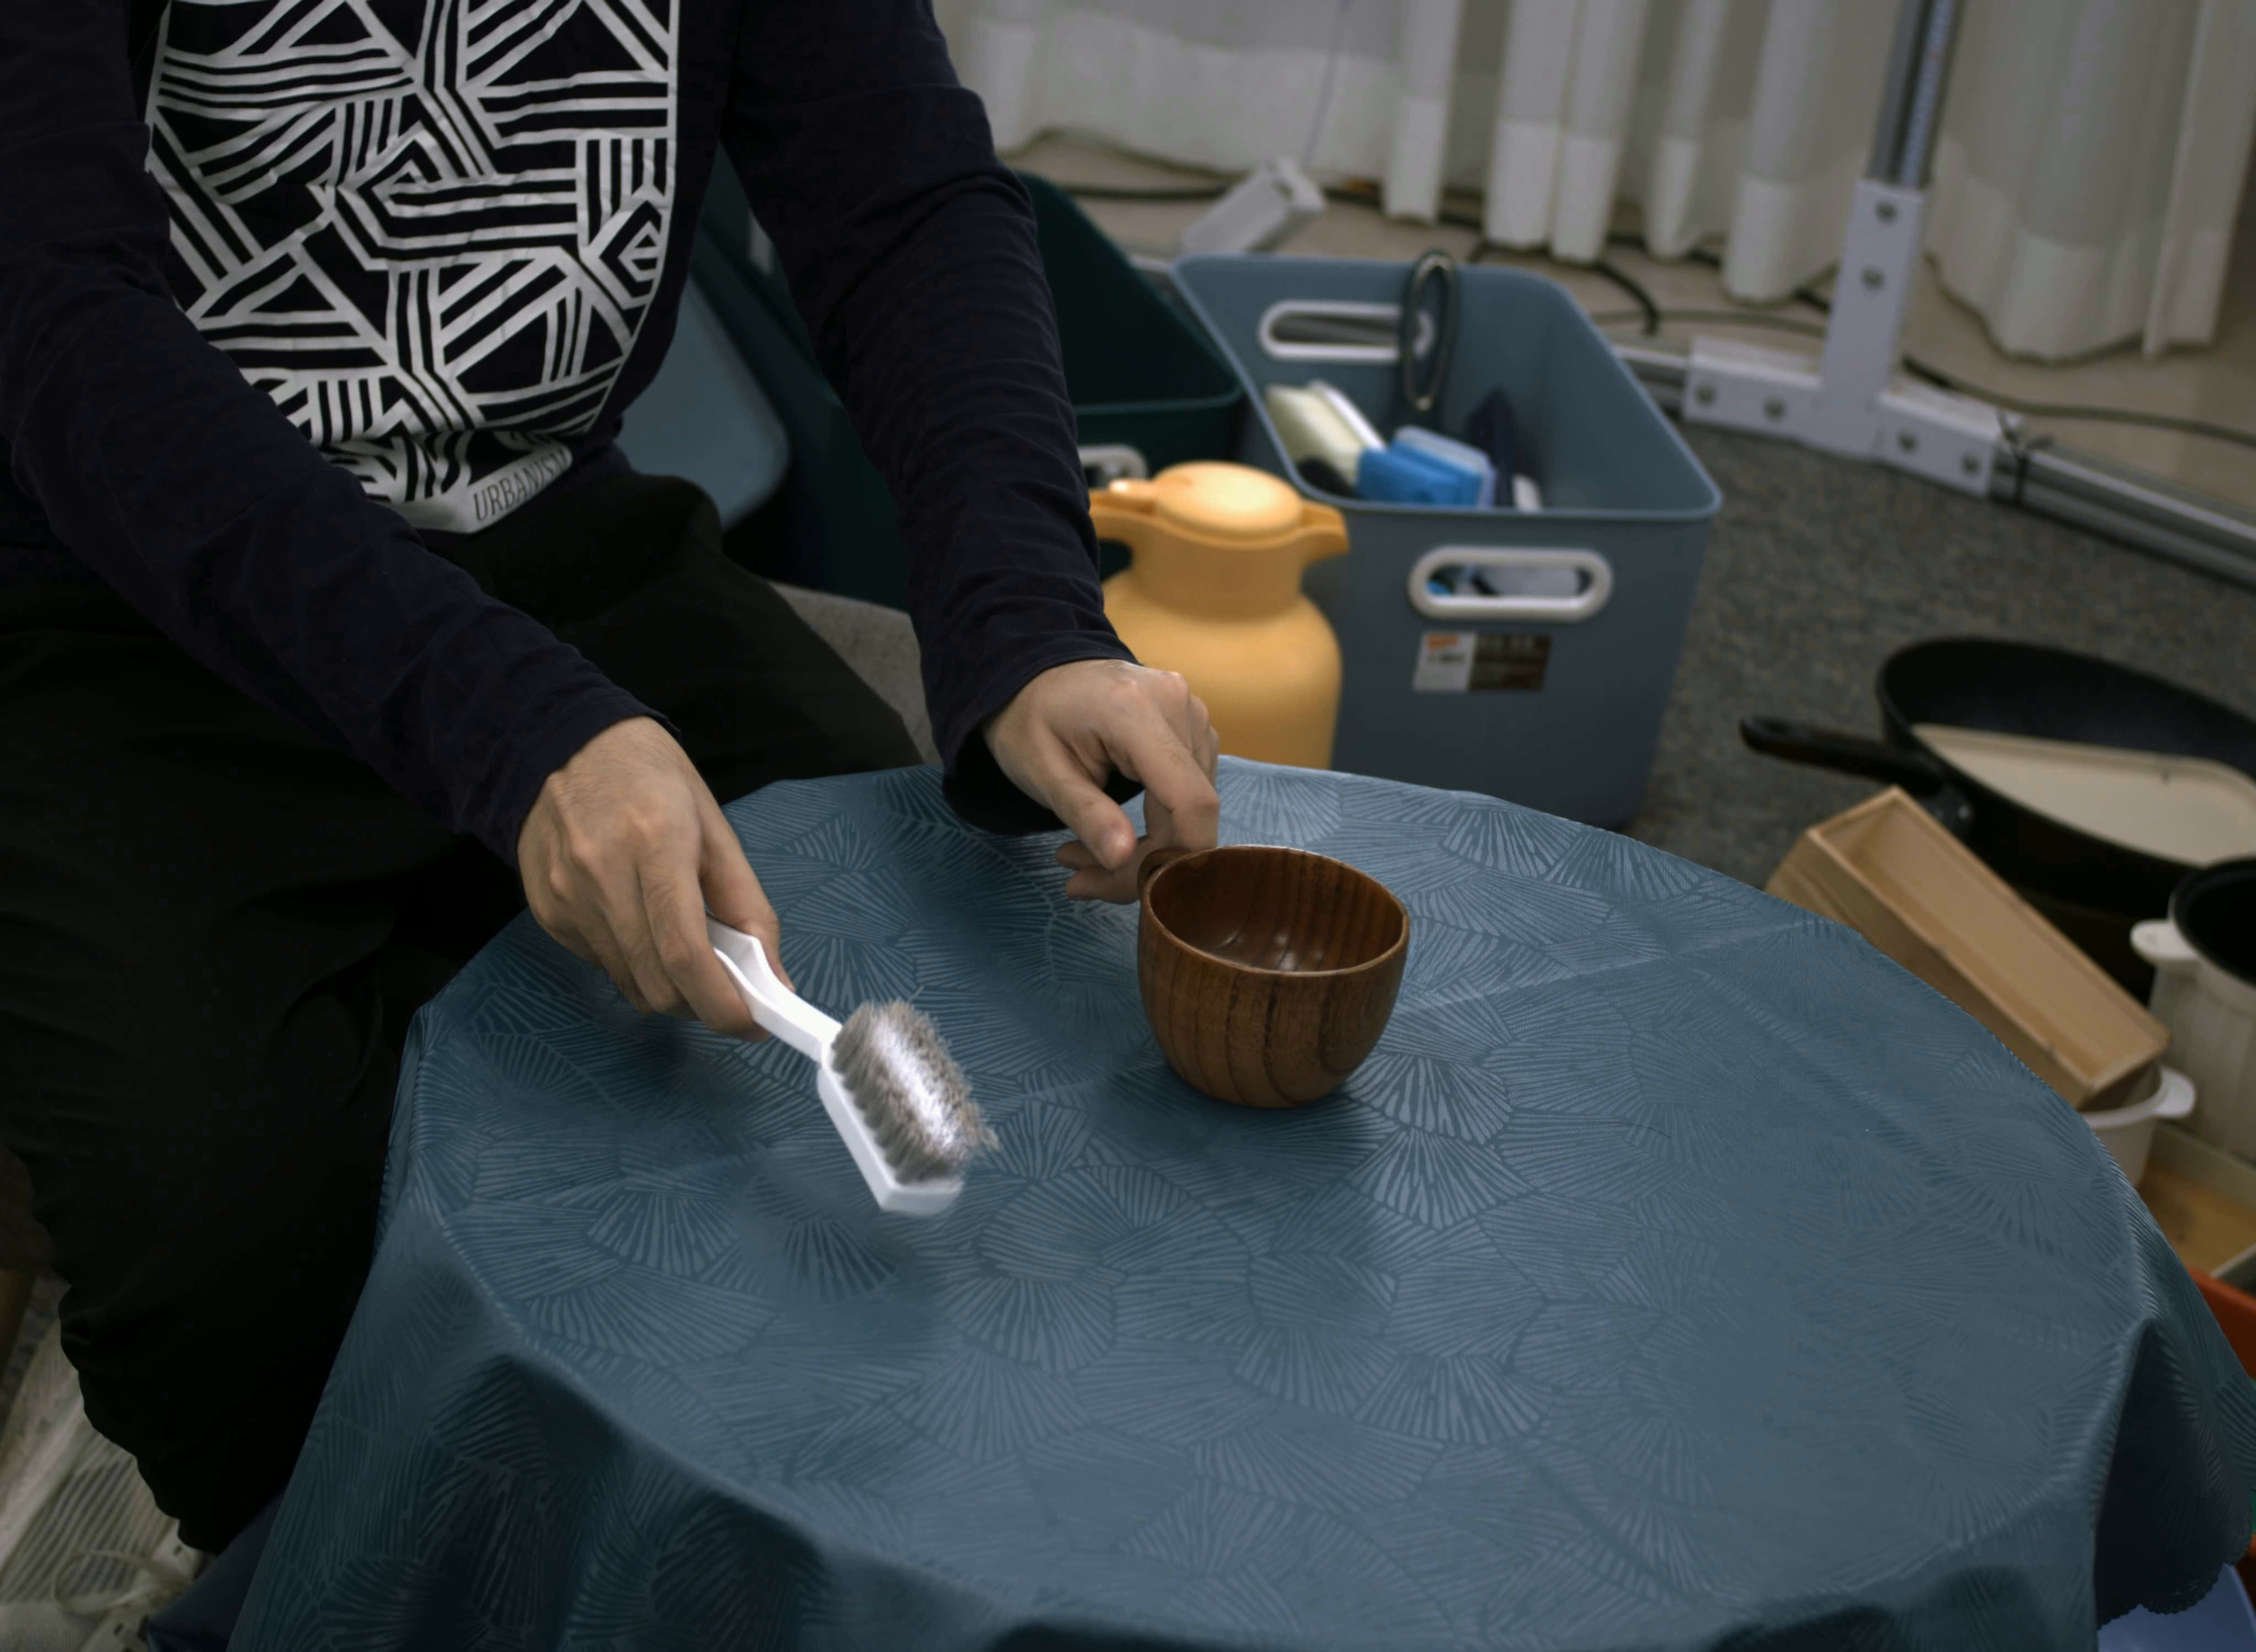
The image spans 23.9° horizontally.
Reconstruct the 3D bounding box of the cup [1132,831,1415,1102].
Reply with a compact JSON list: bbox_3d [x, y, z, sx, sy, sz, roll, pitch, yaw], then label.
[{"bbox_3d":[0.042,0.048,1.886,0.095,0.067,0.120,-17,37,-36],"label":"cup"}]

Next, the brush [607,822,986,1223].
[{"bbox_3d":[-0.117,0.050,1.805,0.034,0.050,0.246,-11,38,-28],"label":"brush"}]
